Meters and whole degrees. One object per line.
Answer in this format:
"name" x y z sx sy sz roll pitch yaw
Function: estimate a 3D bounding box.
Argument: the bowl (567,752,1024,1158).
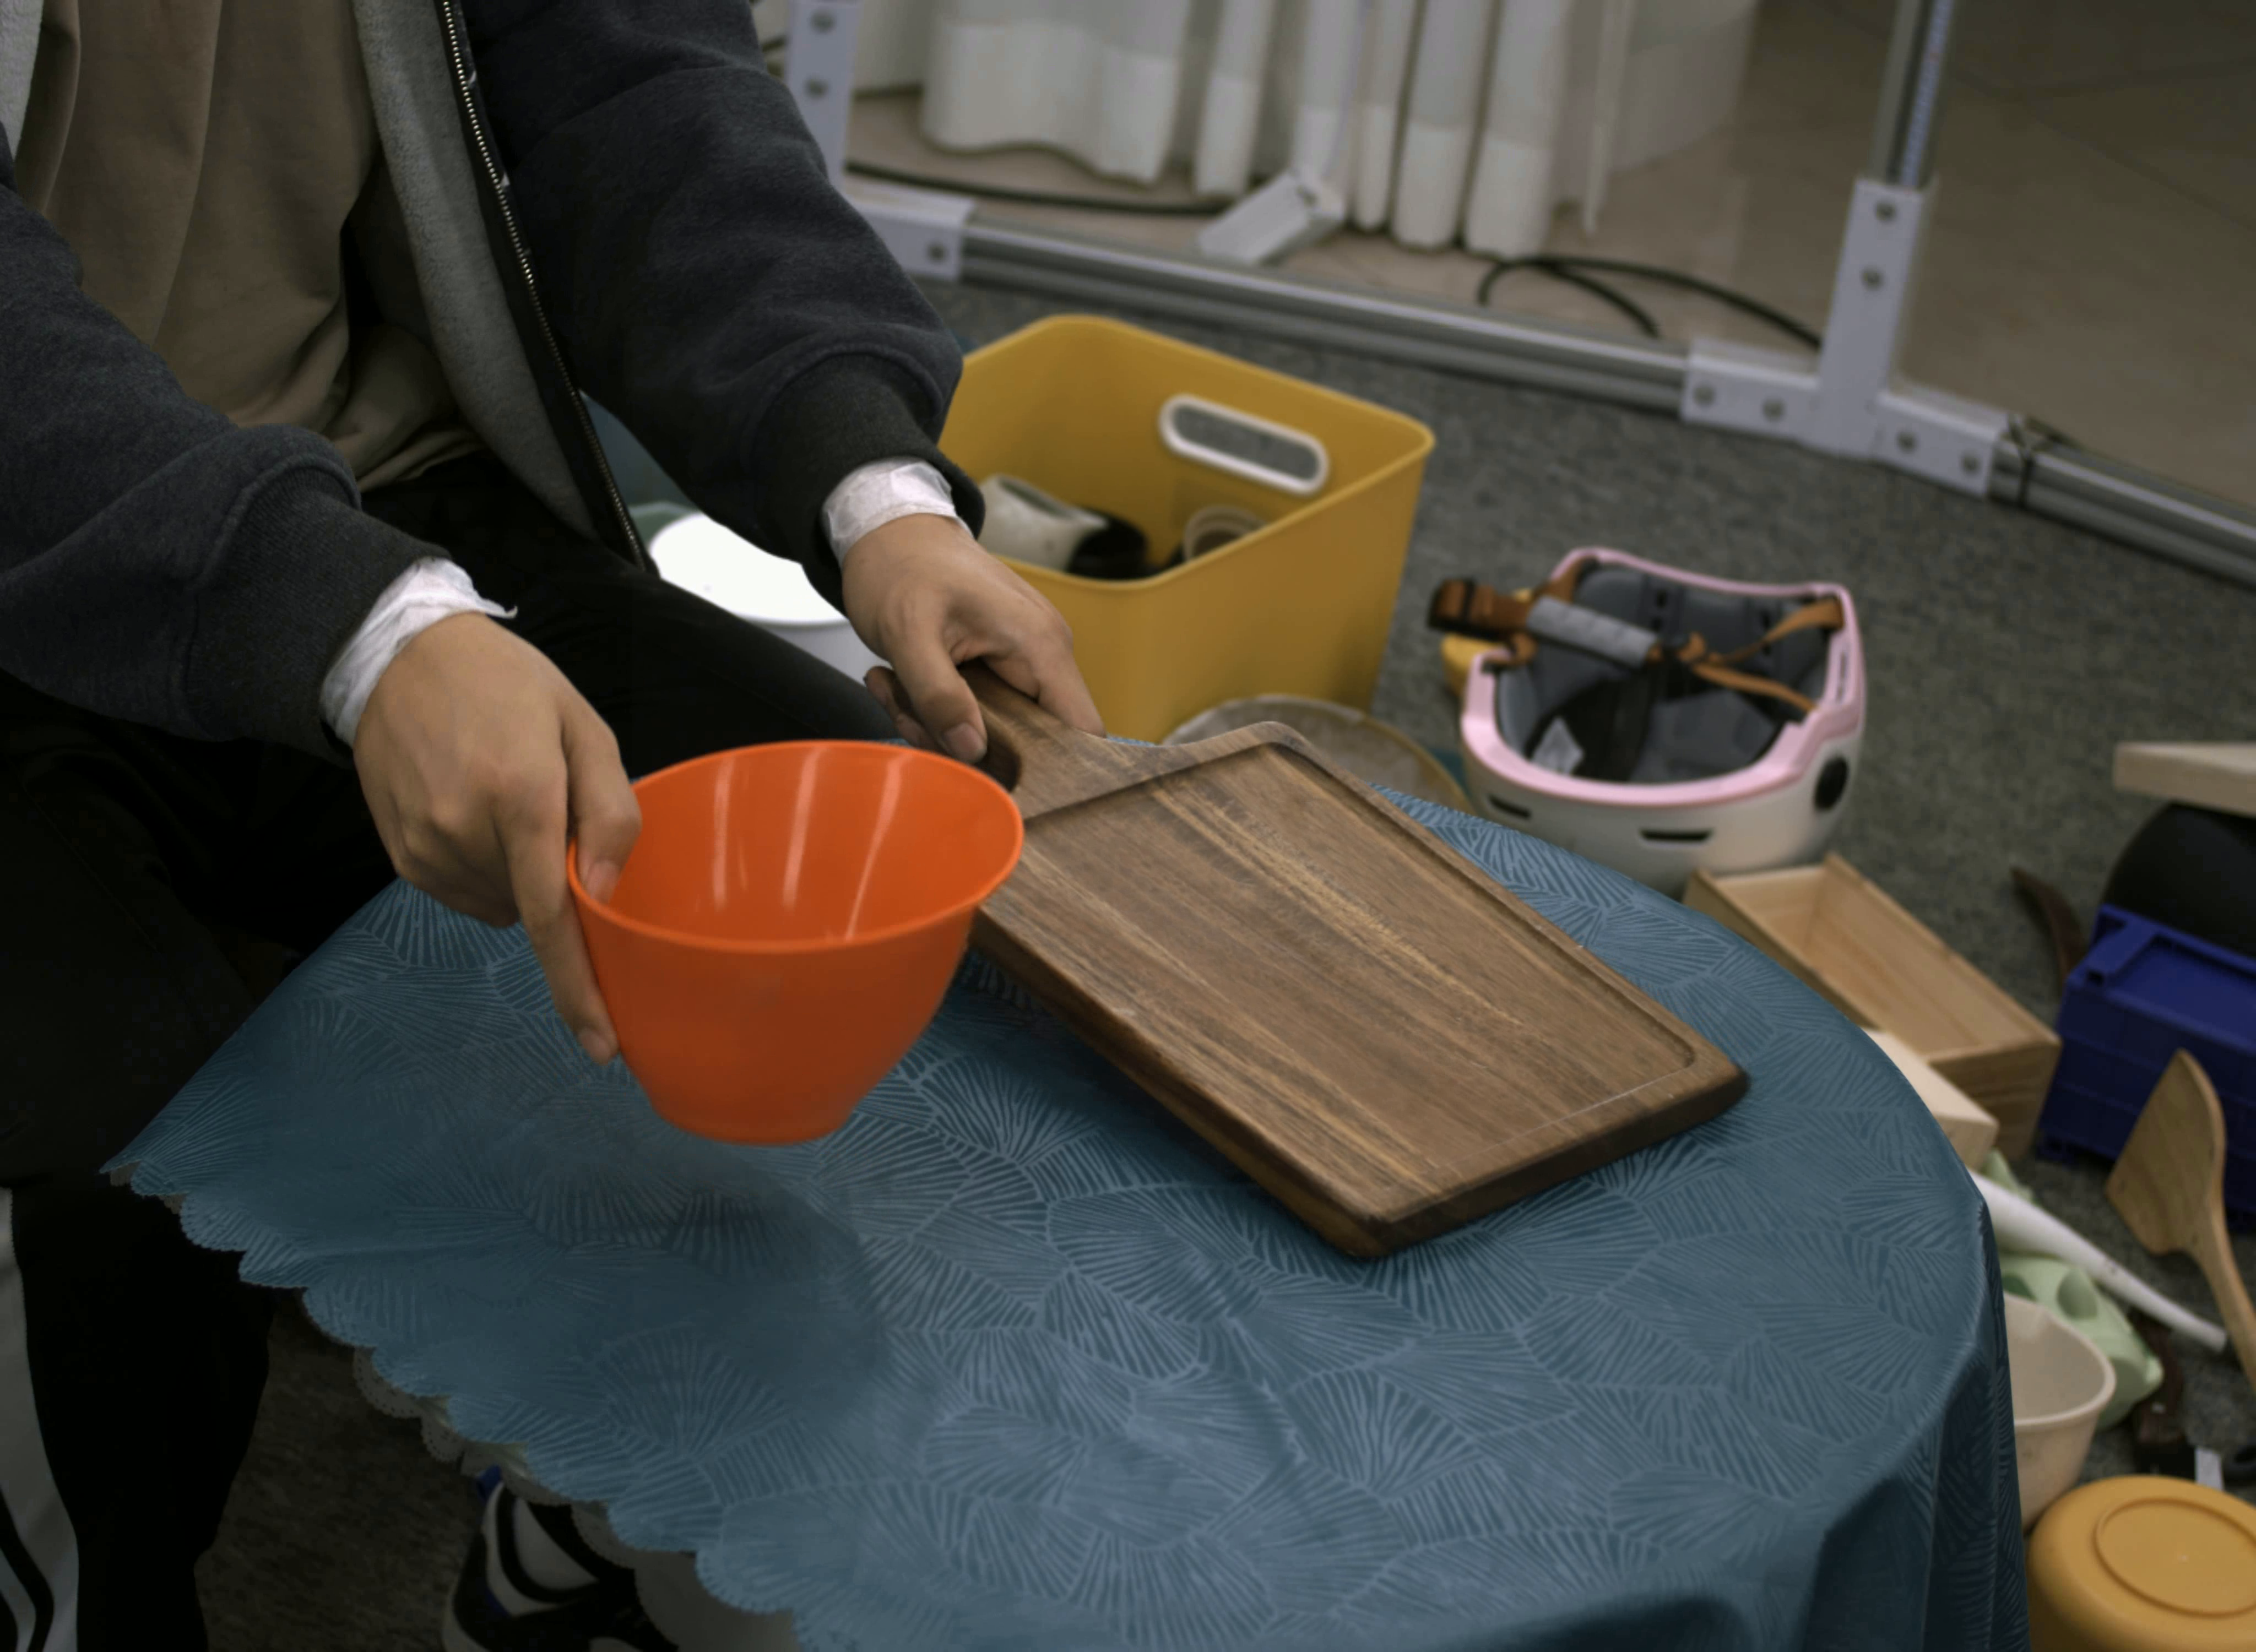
"bowl" -0.111 0.046 1.739 0.147 0.104 0.149 5 21 -2

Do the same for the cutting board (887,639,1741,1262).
"cutting board" 0.035 0.027 1.924 0.200 0.023 0.355 -18 44 -40
